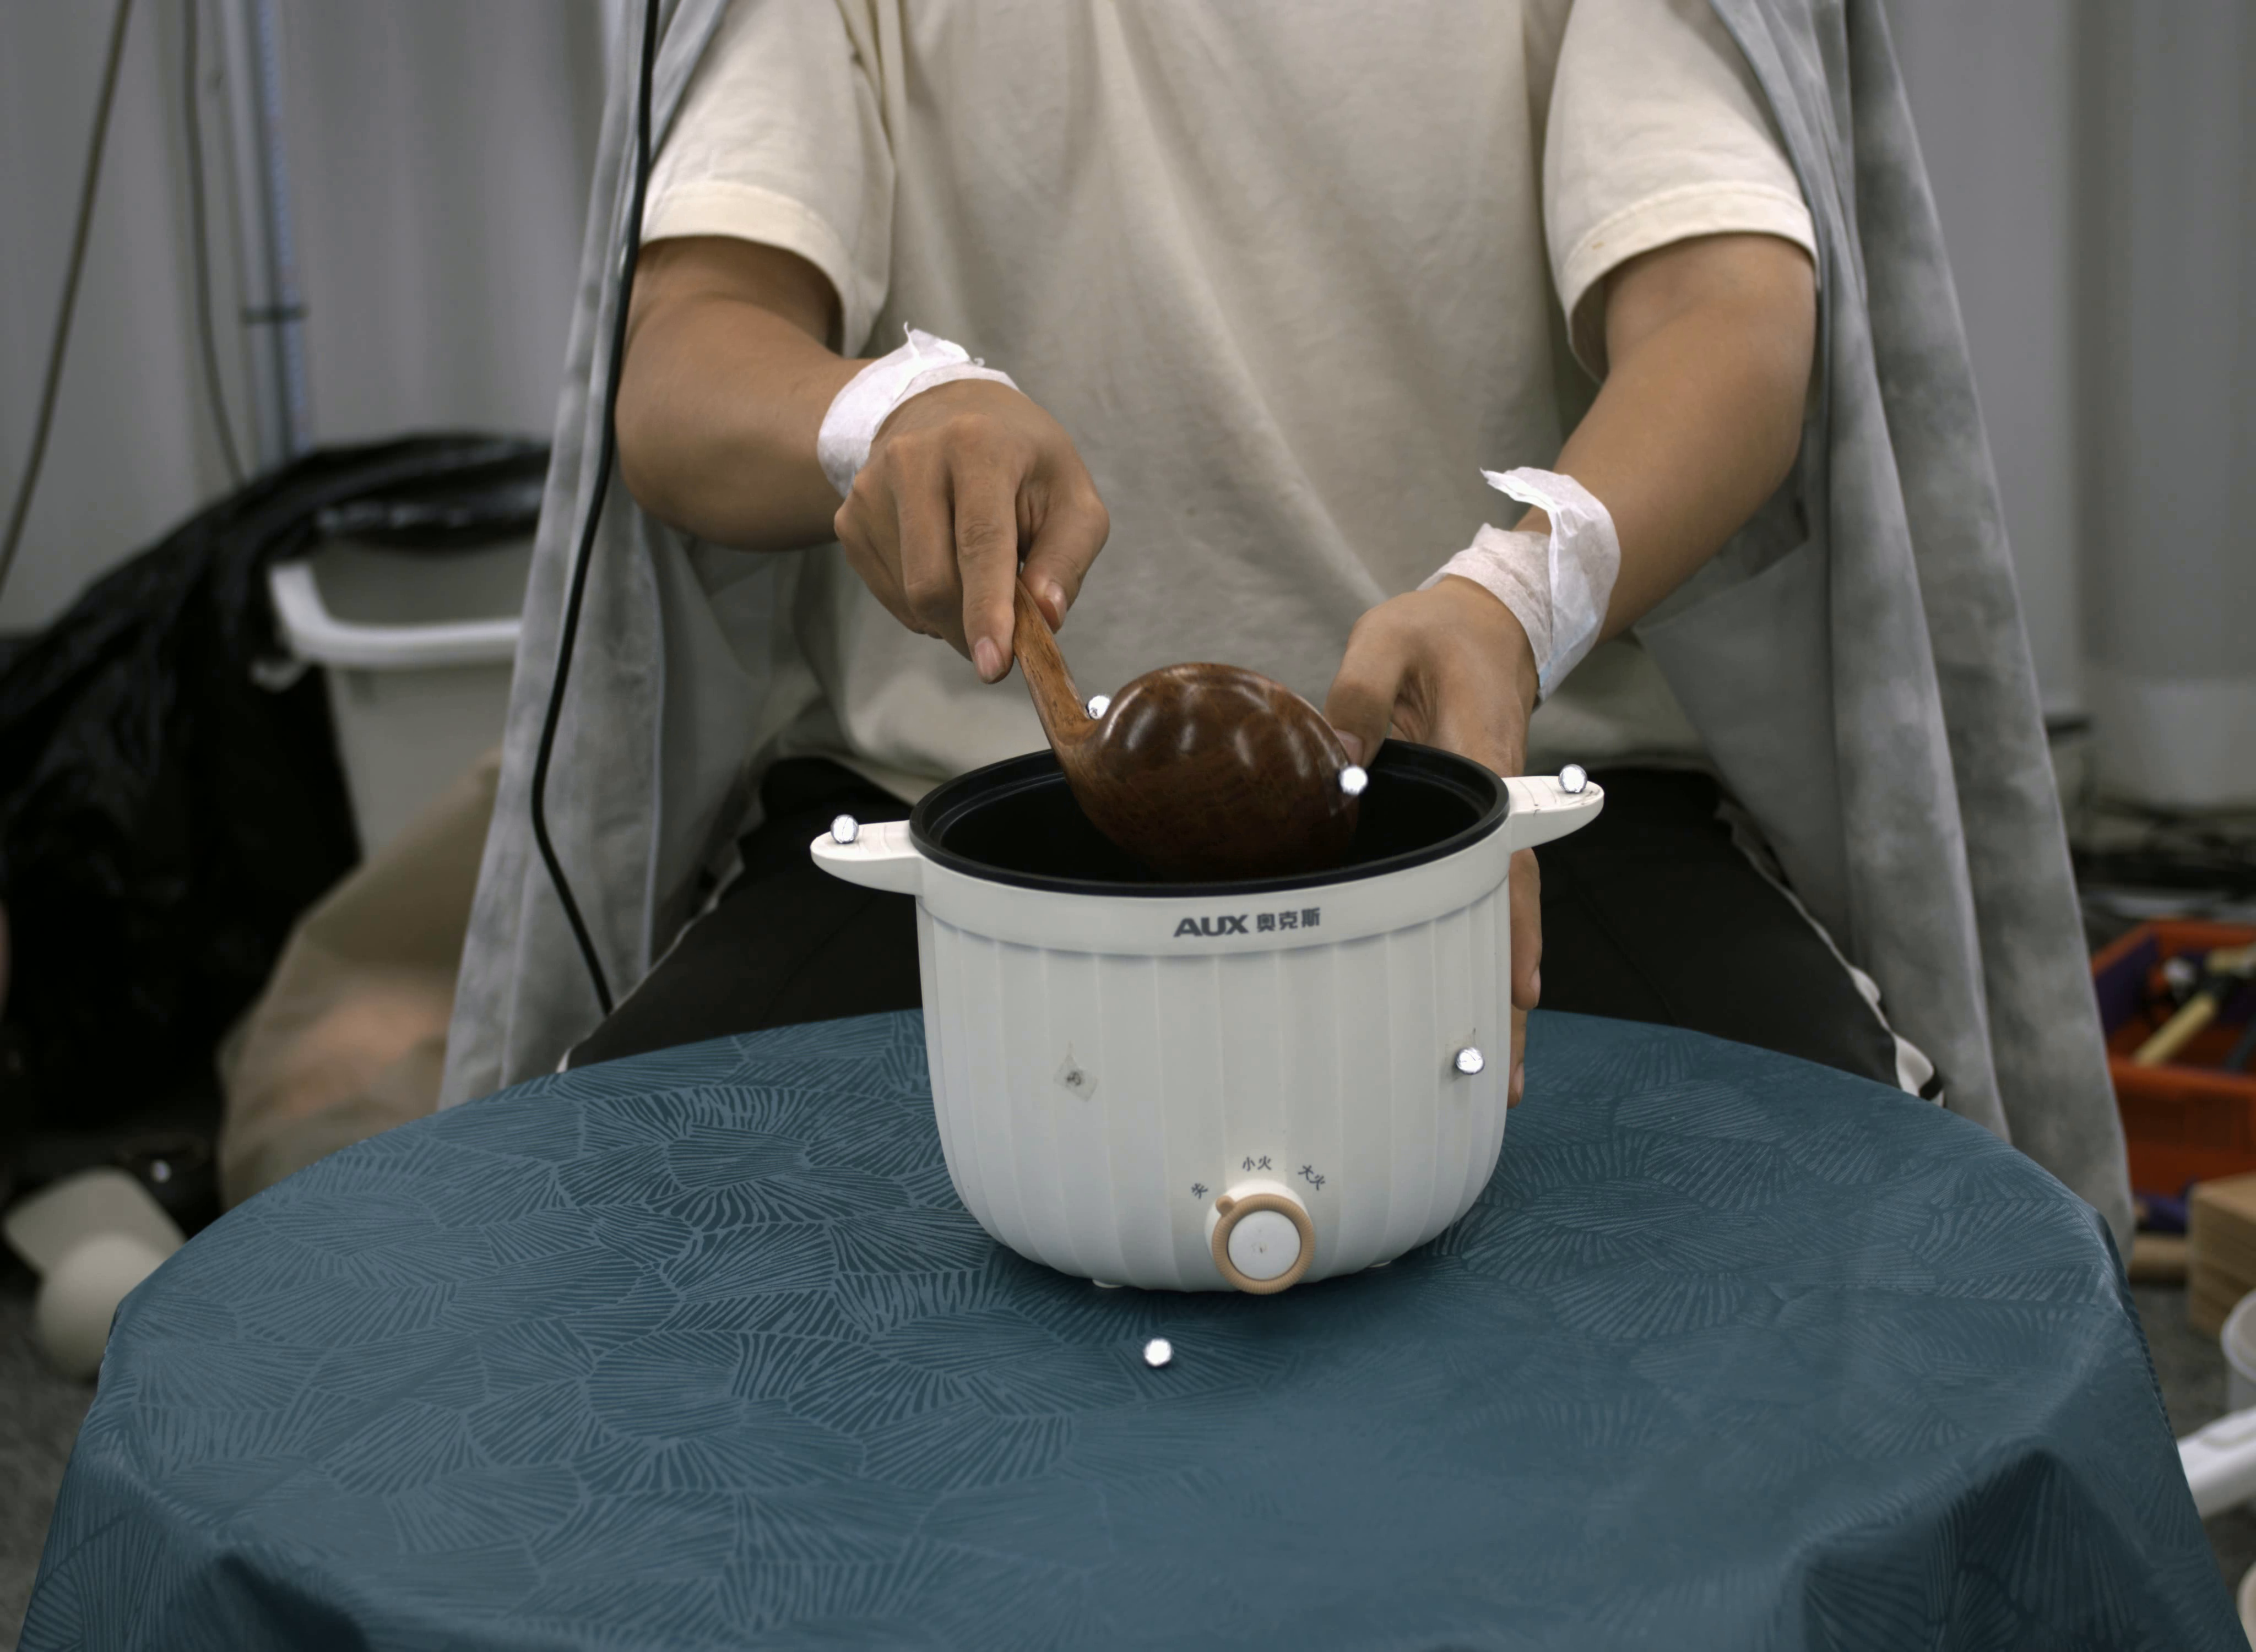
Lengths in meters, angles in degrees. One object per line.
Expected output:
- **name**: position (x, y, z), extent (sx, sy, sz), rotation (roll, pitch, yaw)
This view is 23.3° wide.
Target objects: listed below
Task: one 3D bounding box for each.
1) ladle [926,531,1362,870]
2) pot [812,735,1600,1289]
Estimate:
- **ladle**: position (0.001, -0.052, 1.695), extent (0.076, 0.081, 0.277), rotation (-20, 26, -6)
- **pot**: position (0.029, 0.059, 1.657), extent (0.239, 0.142, 0.191), rotation (-5, 11, -5)
